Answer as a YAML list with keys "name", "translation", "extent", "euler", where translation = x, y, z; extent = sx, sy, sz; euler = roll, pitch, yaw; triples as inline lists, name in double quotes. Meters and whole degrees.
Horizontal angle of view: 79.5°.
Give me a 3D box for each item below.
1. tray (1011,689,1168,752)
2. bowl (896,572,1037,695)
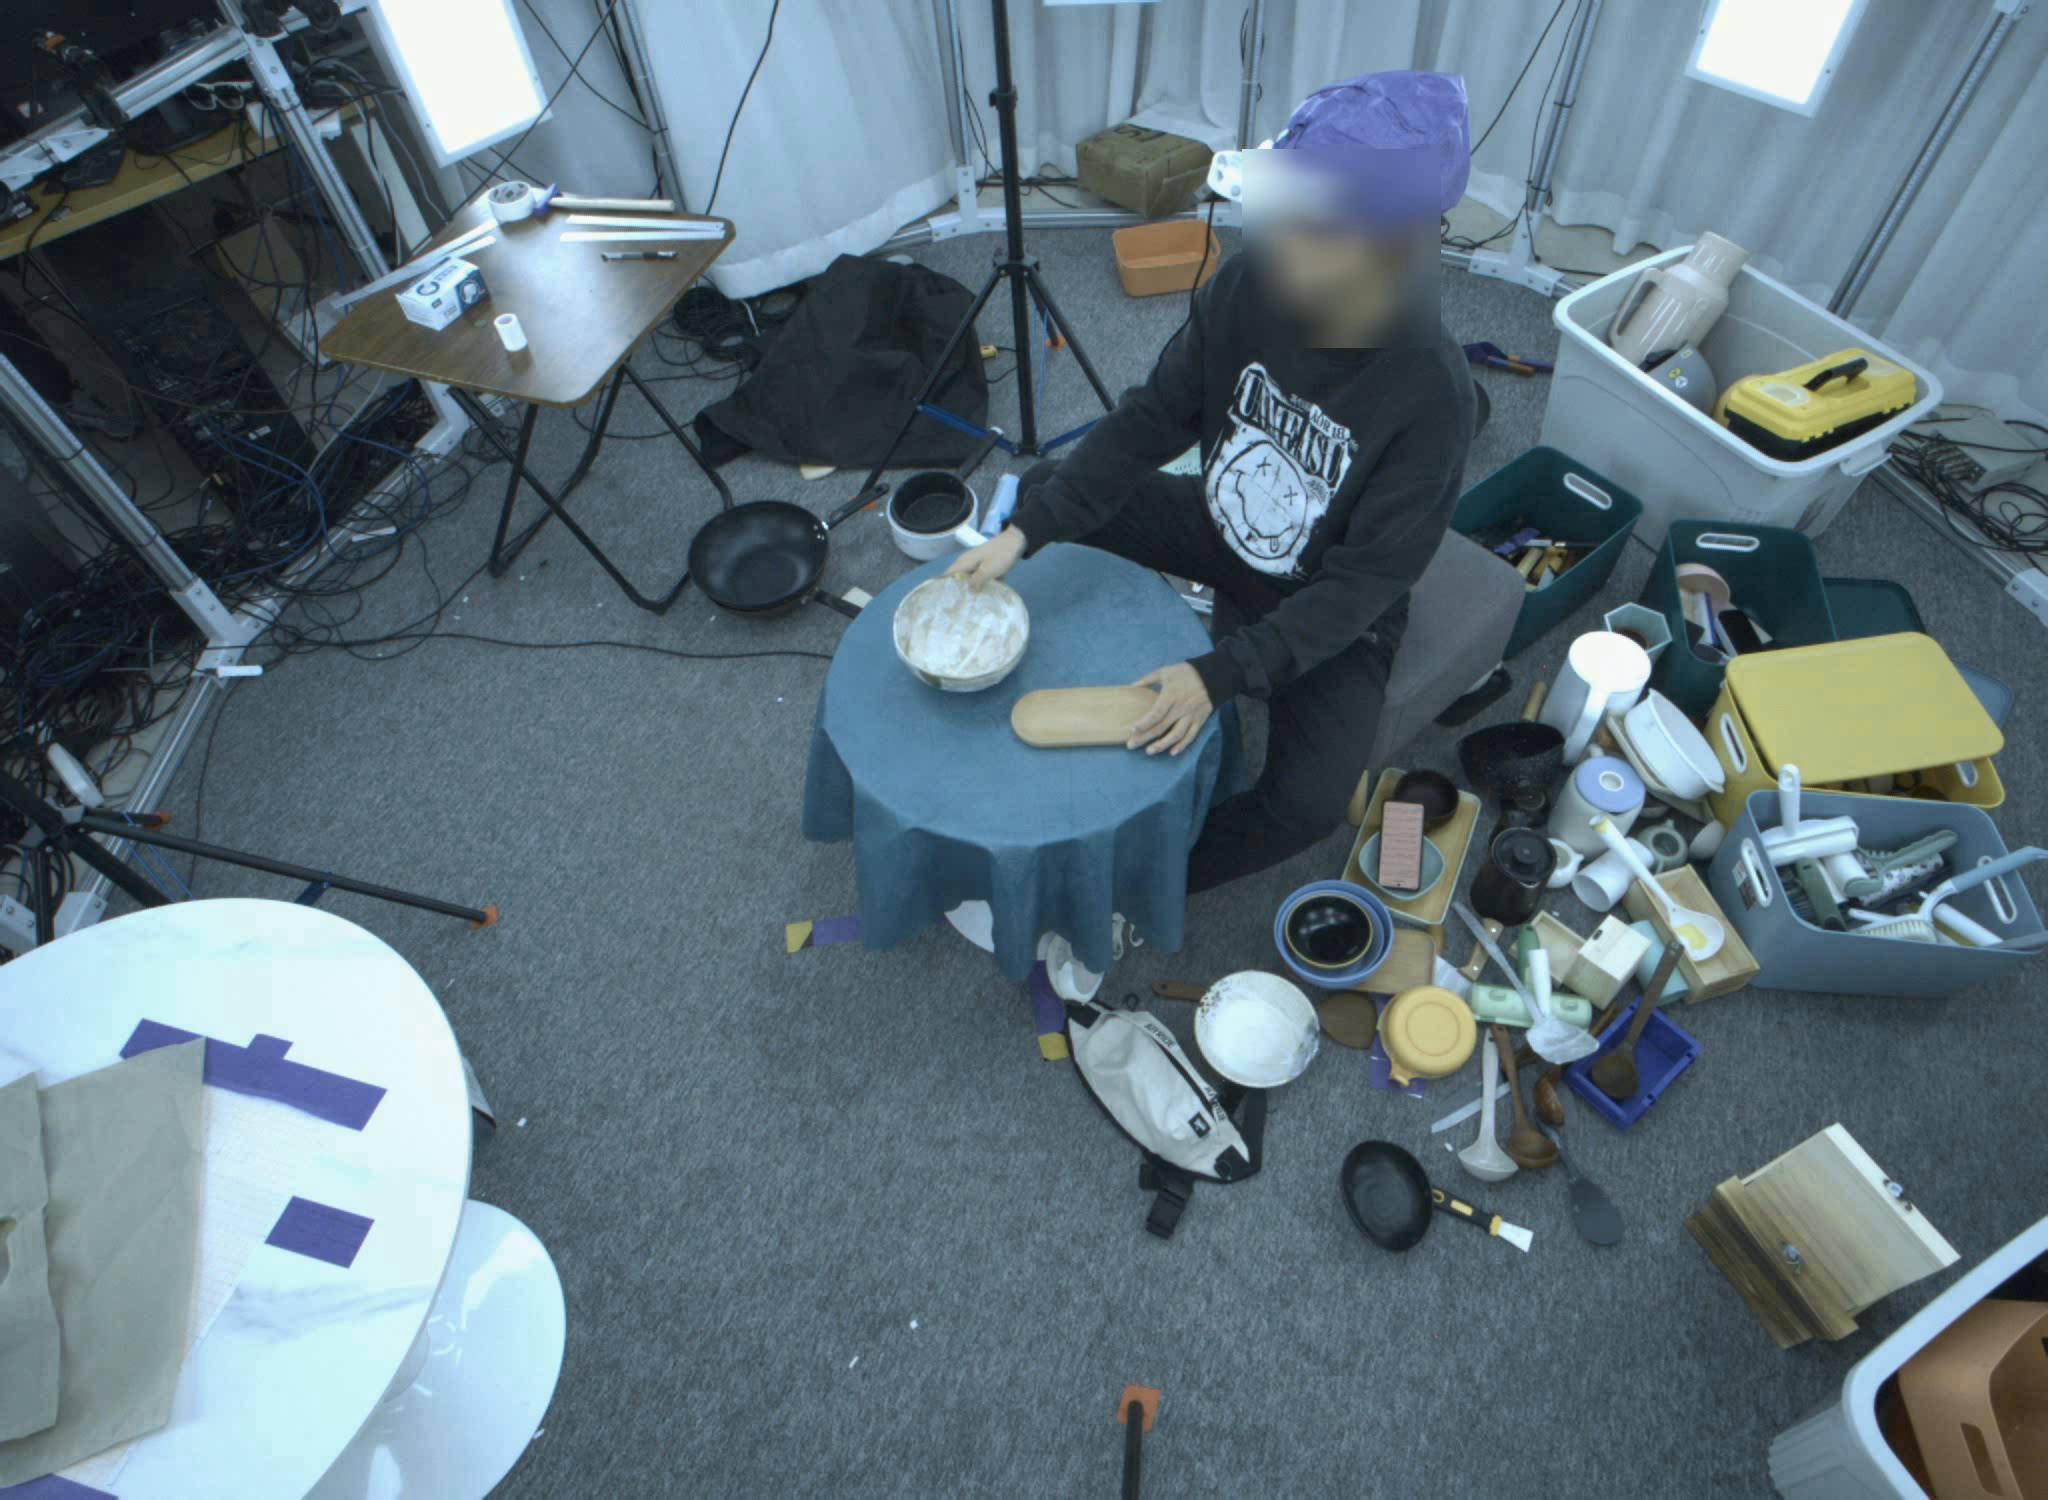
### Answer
- name: "tray"
  translation: [0.096, -0.043, 1.815]
  extent: [0.231, 0.020, 0.100]
  euler: [-4, 53, 1]
- name: "bowl"
  translation: [-0.085, -0.156, 1.847]
  extent: [0.215, 0.095, 0.212]
  euler: [1, 58, 0]
